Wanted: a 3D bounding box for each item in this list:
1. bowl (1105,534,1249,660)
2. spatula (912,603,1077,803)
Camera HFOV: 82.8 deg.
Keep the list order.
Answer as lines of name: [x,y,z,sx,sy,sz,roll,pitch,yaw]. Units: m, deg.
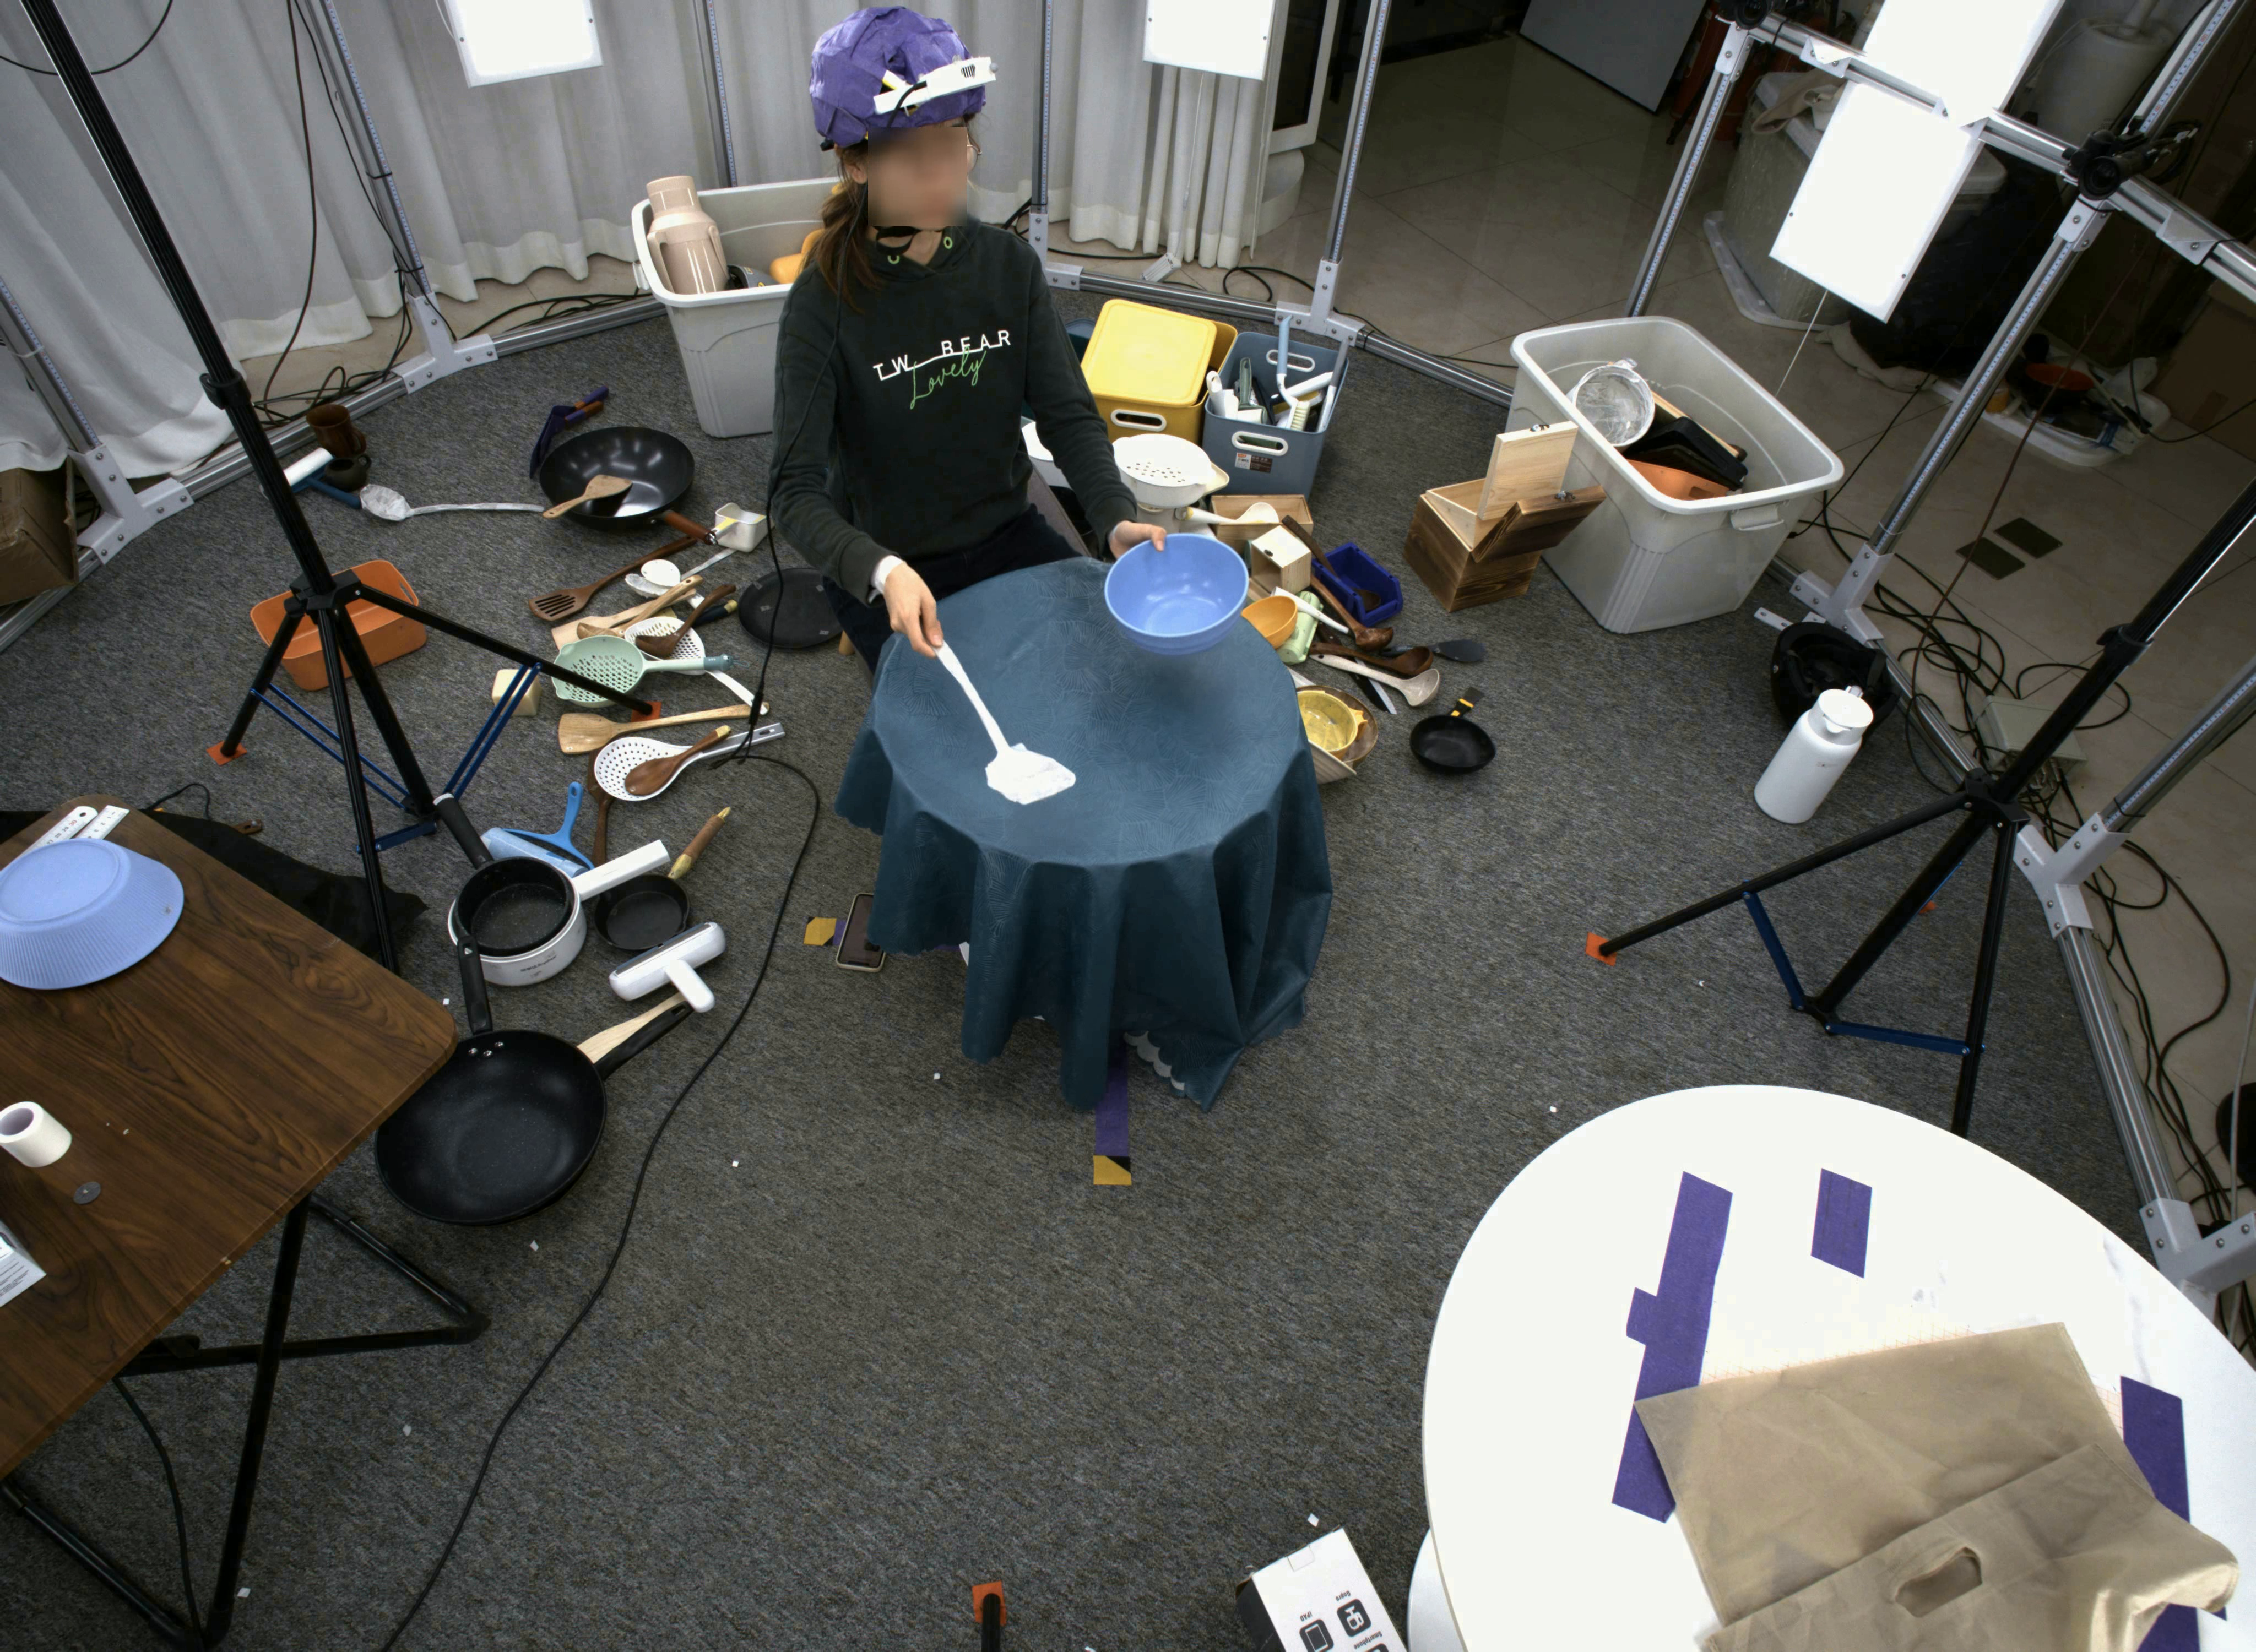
bowl: [0.072,-0.302,1.784,0.196,0.093,0.201,-5,54,6]
spatula: [-0.189,-0.165,1.624,0.099,0.044,0.371,-20,63,-27]
